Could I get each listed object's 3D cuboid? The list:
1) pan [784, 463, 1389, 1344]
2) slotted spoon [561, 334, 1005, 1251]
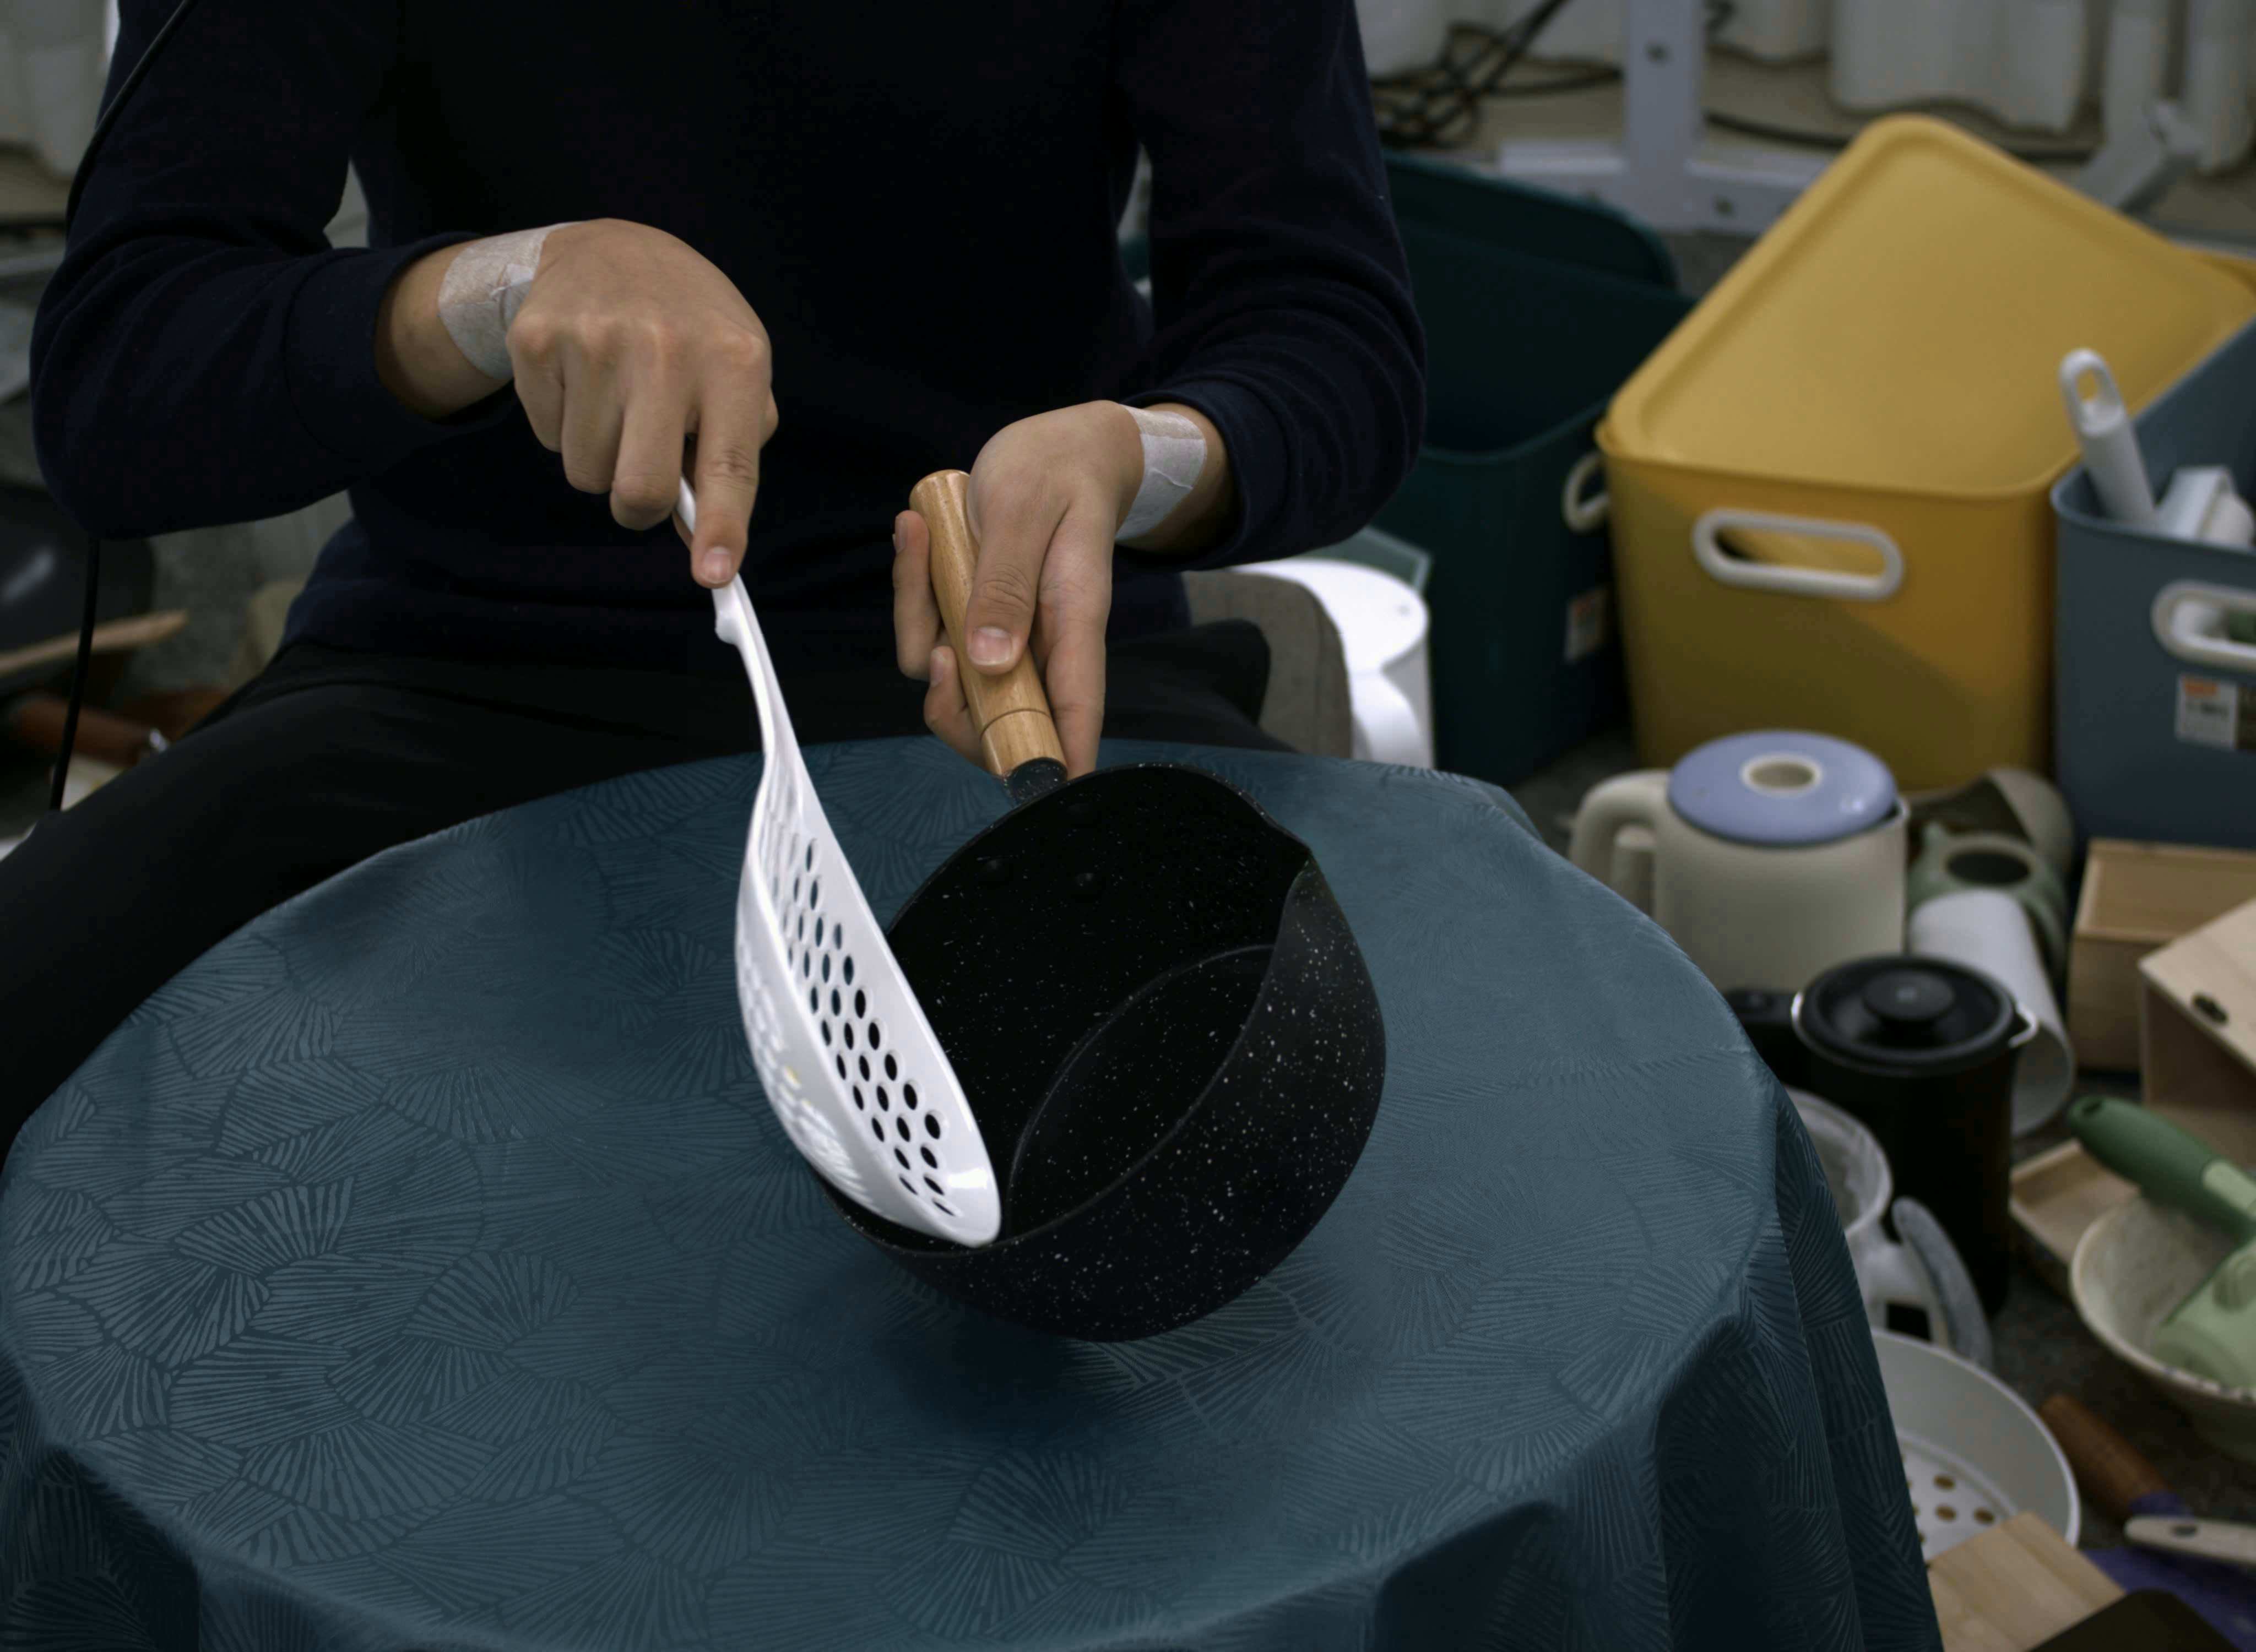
[{"bbox_3d":[-0.020,0.020,1.836,0.205,0.107,0.349,-33,39,18],"label":"pan"},{"bbox_3d":[-0.118,-0.018,1.771,0.050,0.136,0.353,-24,60,14],"label":"slotted spoon"}]
